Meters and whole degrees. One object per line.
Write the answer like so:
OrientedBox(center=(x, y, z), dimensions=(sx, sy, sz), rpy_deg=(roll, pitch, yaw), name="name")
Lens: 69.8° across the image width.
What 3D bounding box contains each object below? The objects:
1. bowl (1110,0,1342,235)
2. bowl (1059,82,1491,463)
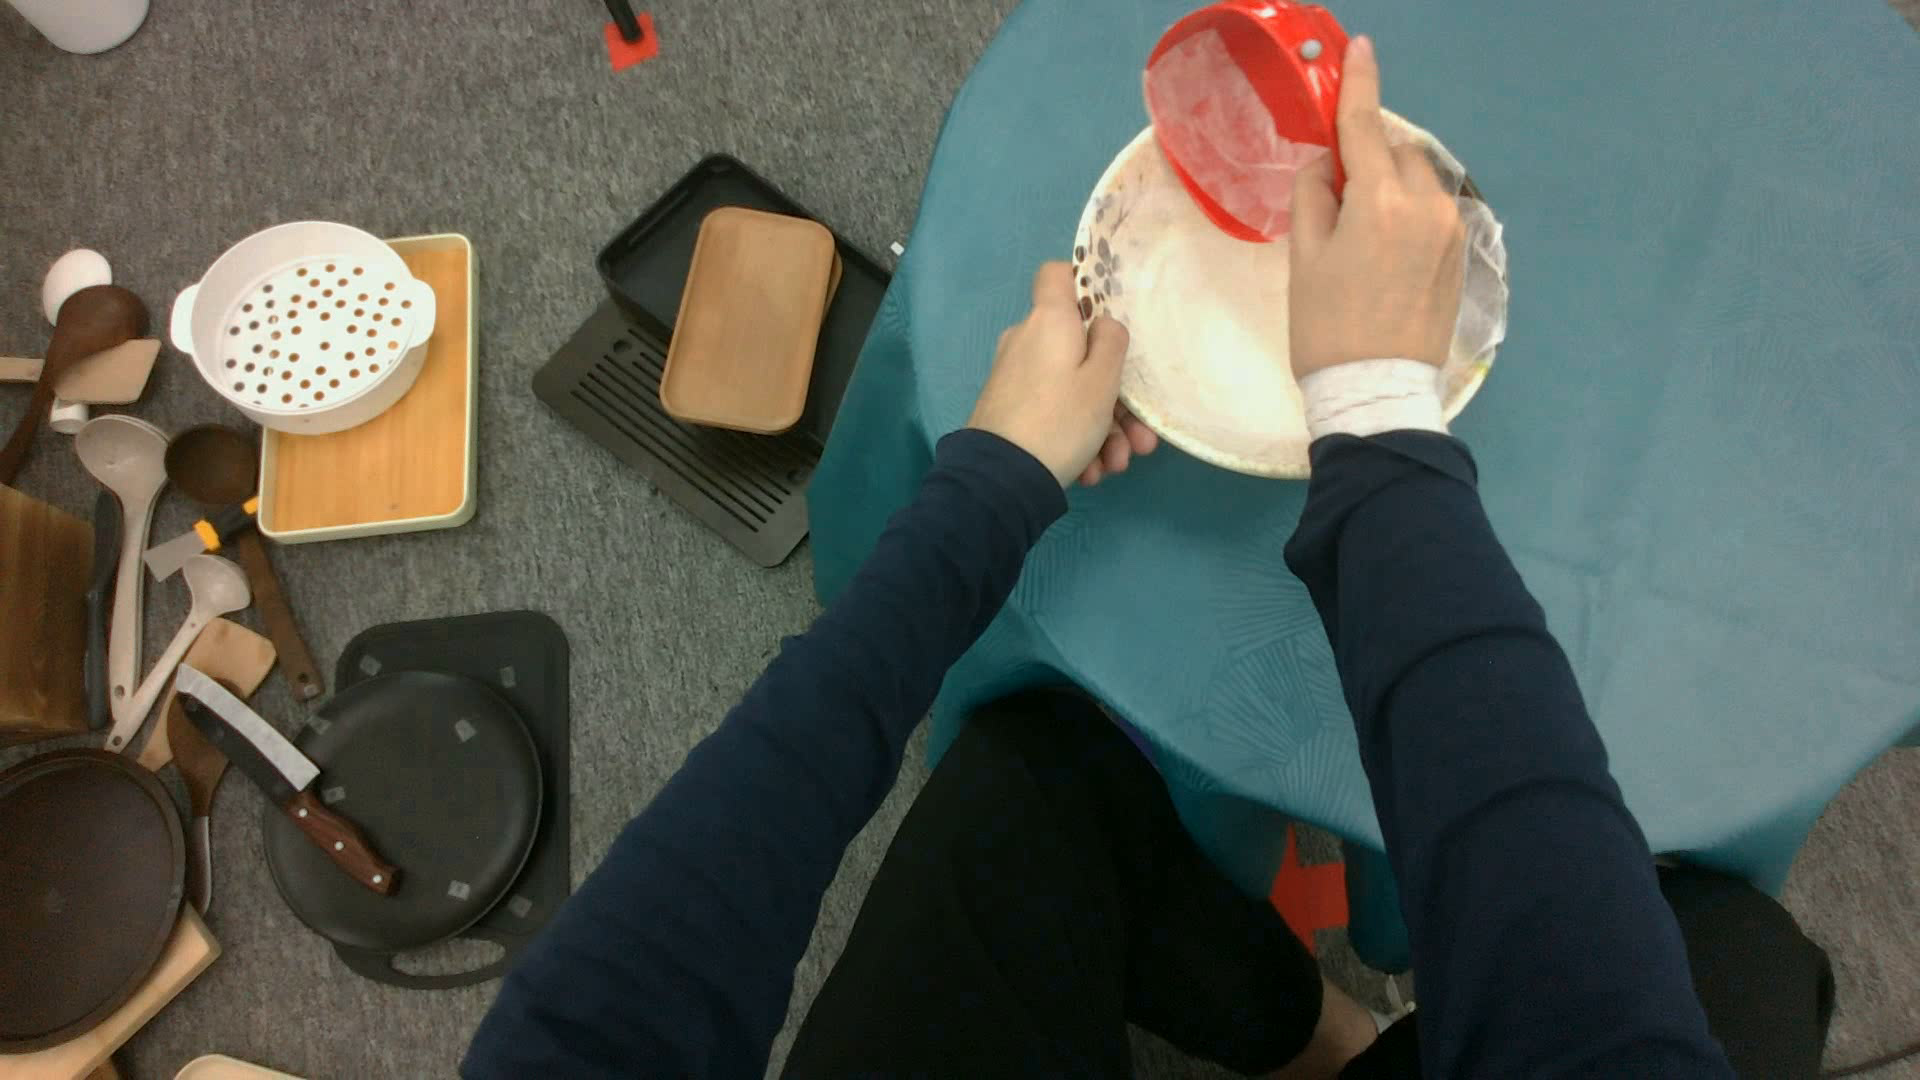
OrientedBox(center=(0.130, -0.203, 0.636), dimensions=(0.051, 0.118, 0.119), rpy_deg=(-40, 76, -22), name="bowl")
OrientedBox(center=(0.150, -0.123, 0.688), dimensions=(0.204, 0.078, 0.204), rpy_deg=(0, 74, 1), name="bowl")
